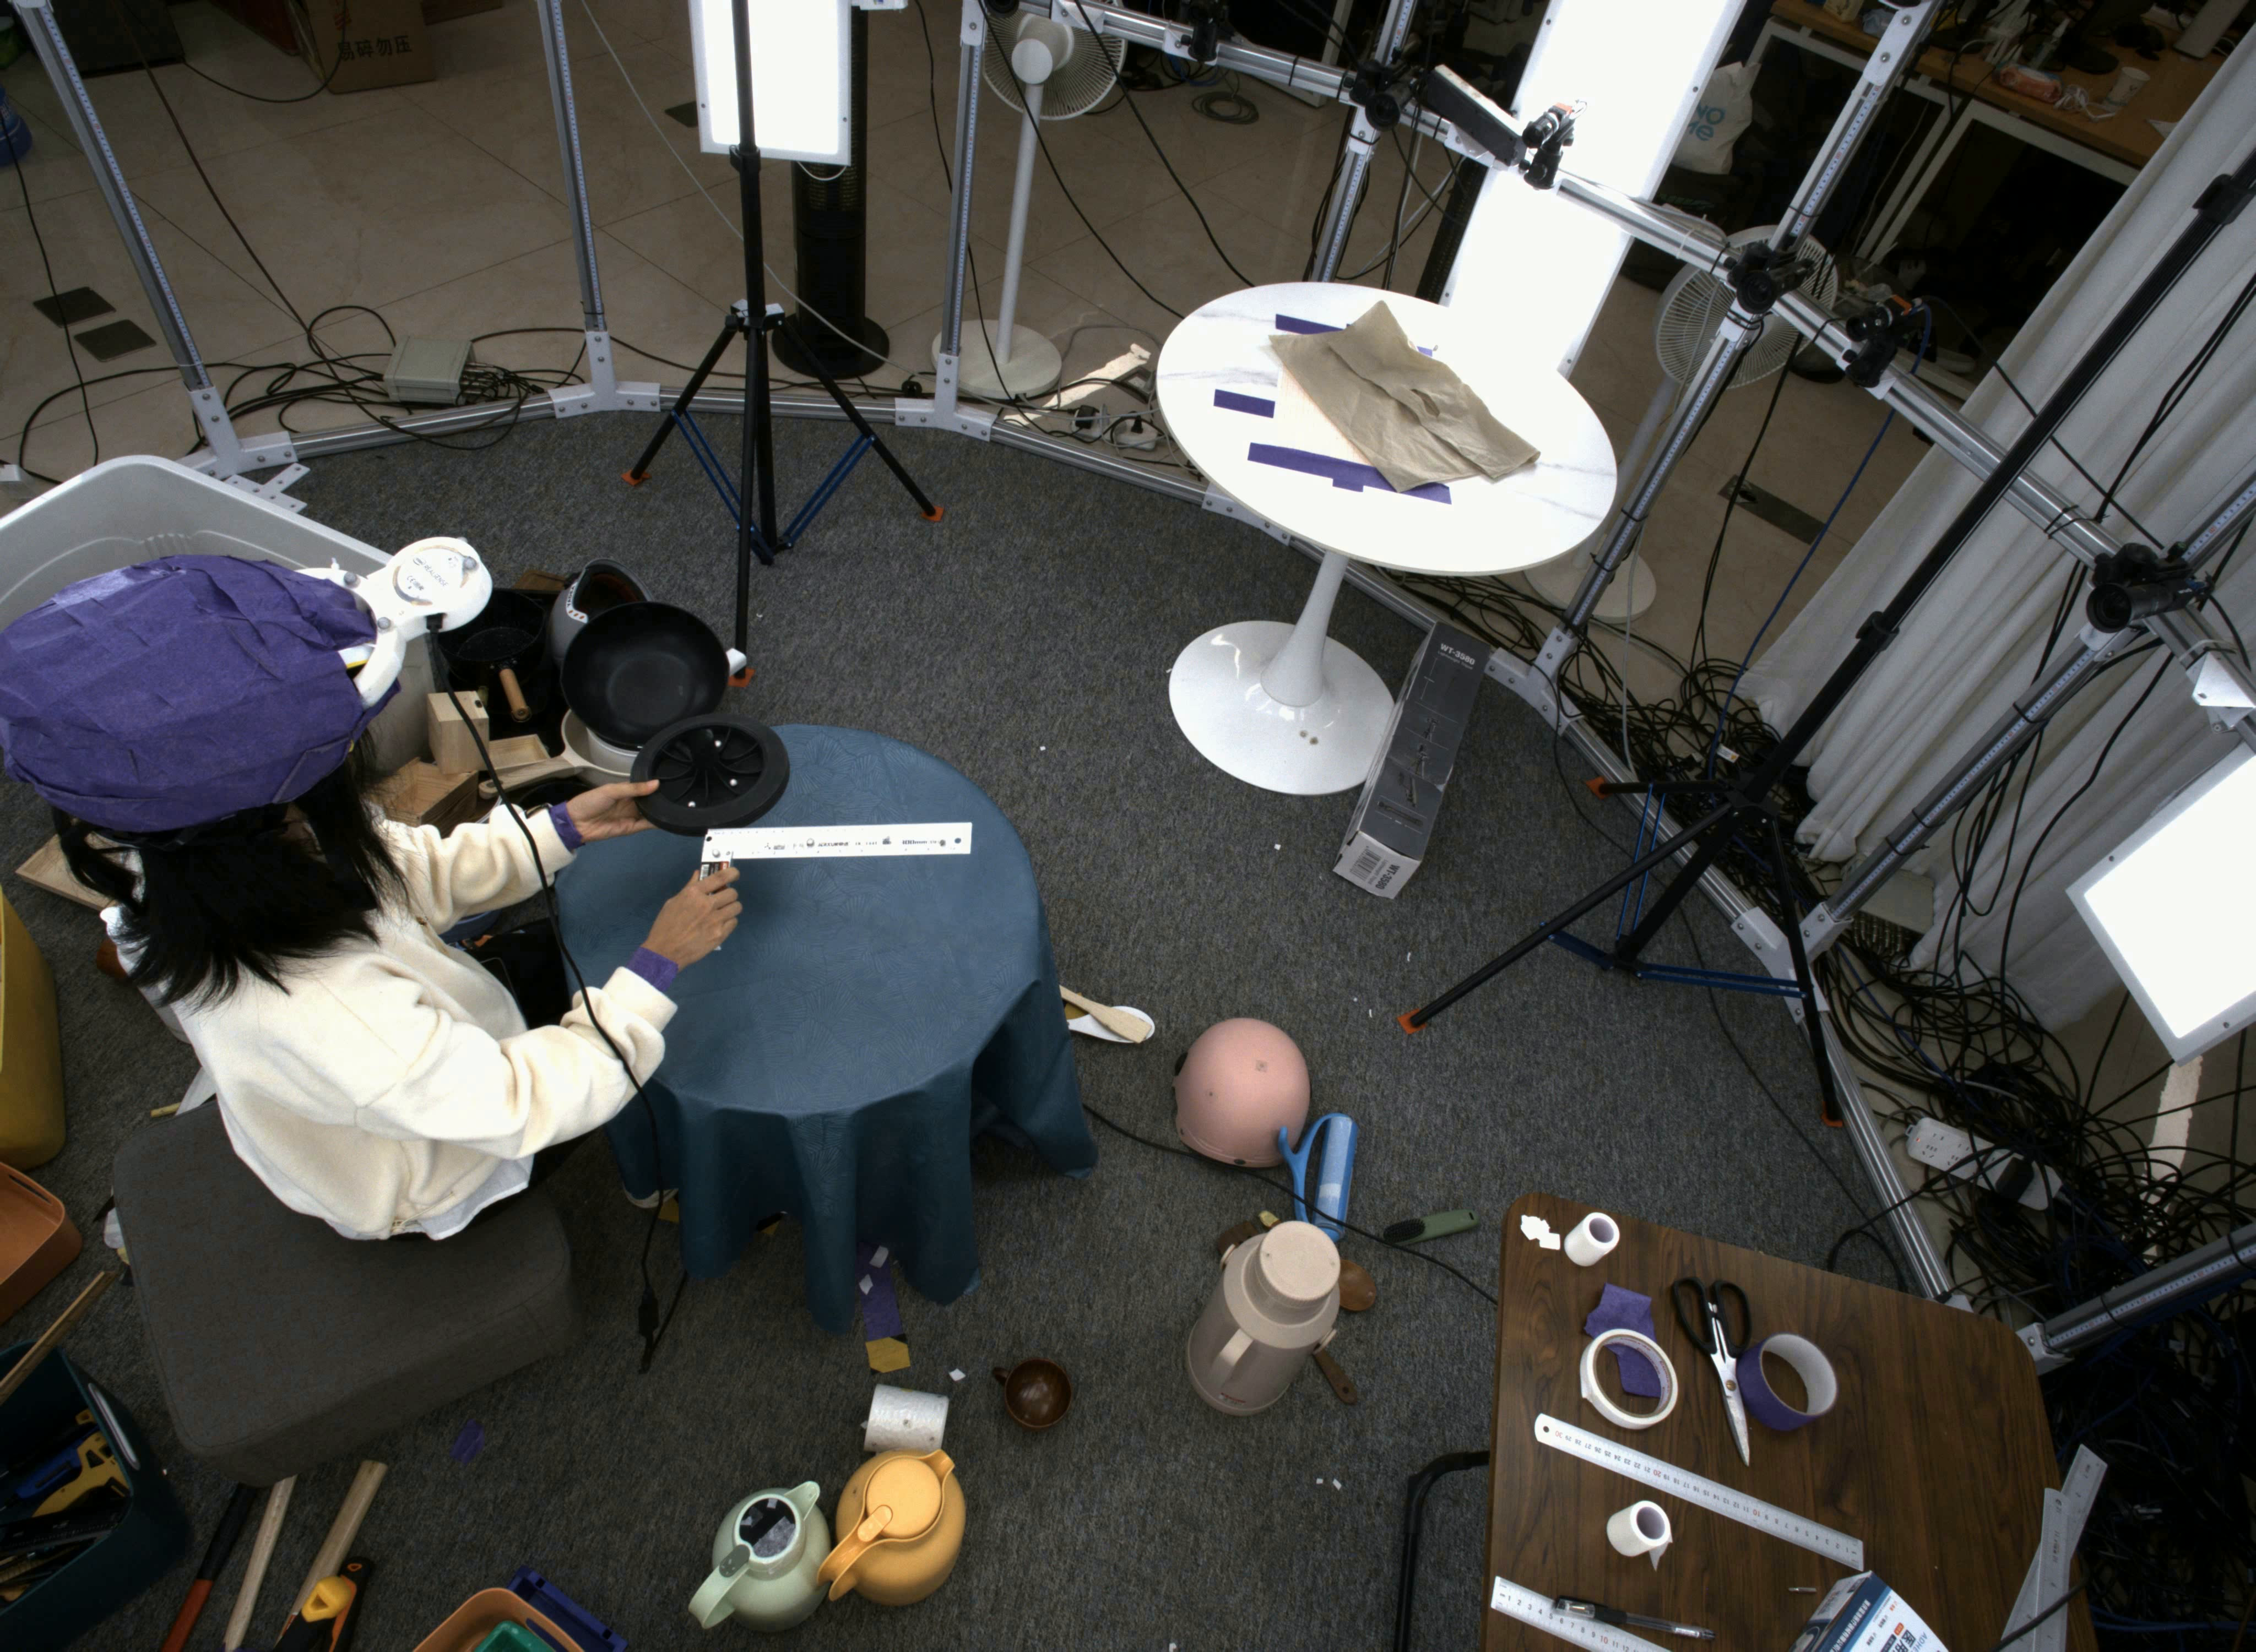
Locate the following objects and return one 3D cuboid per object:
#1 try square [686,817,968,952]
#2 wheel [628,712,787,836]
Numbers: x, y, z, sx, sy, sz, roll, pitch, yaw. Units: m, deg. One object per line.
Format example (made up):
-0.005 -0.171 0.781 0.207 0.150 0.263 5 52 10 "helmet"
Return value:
-0.336 0.062 1.455 0.309 0.016 0.151 -1 67 -1 "try square"
-0.504 -0.080 1.526 0.186 0.081 0.186 16 51 10 "wheel"
